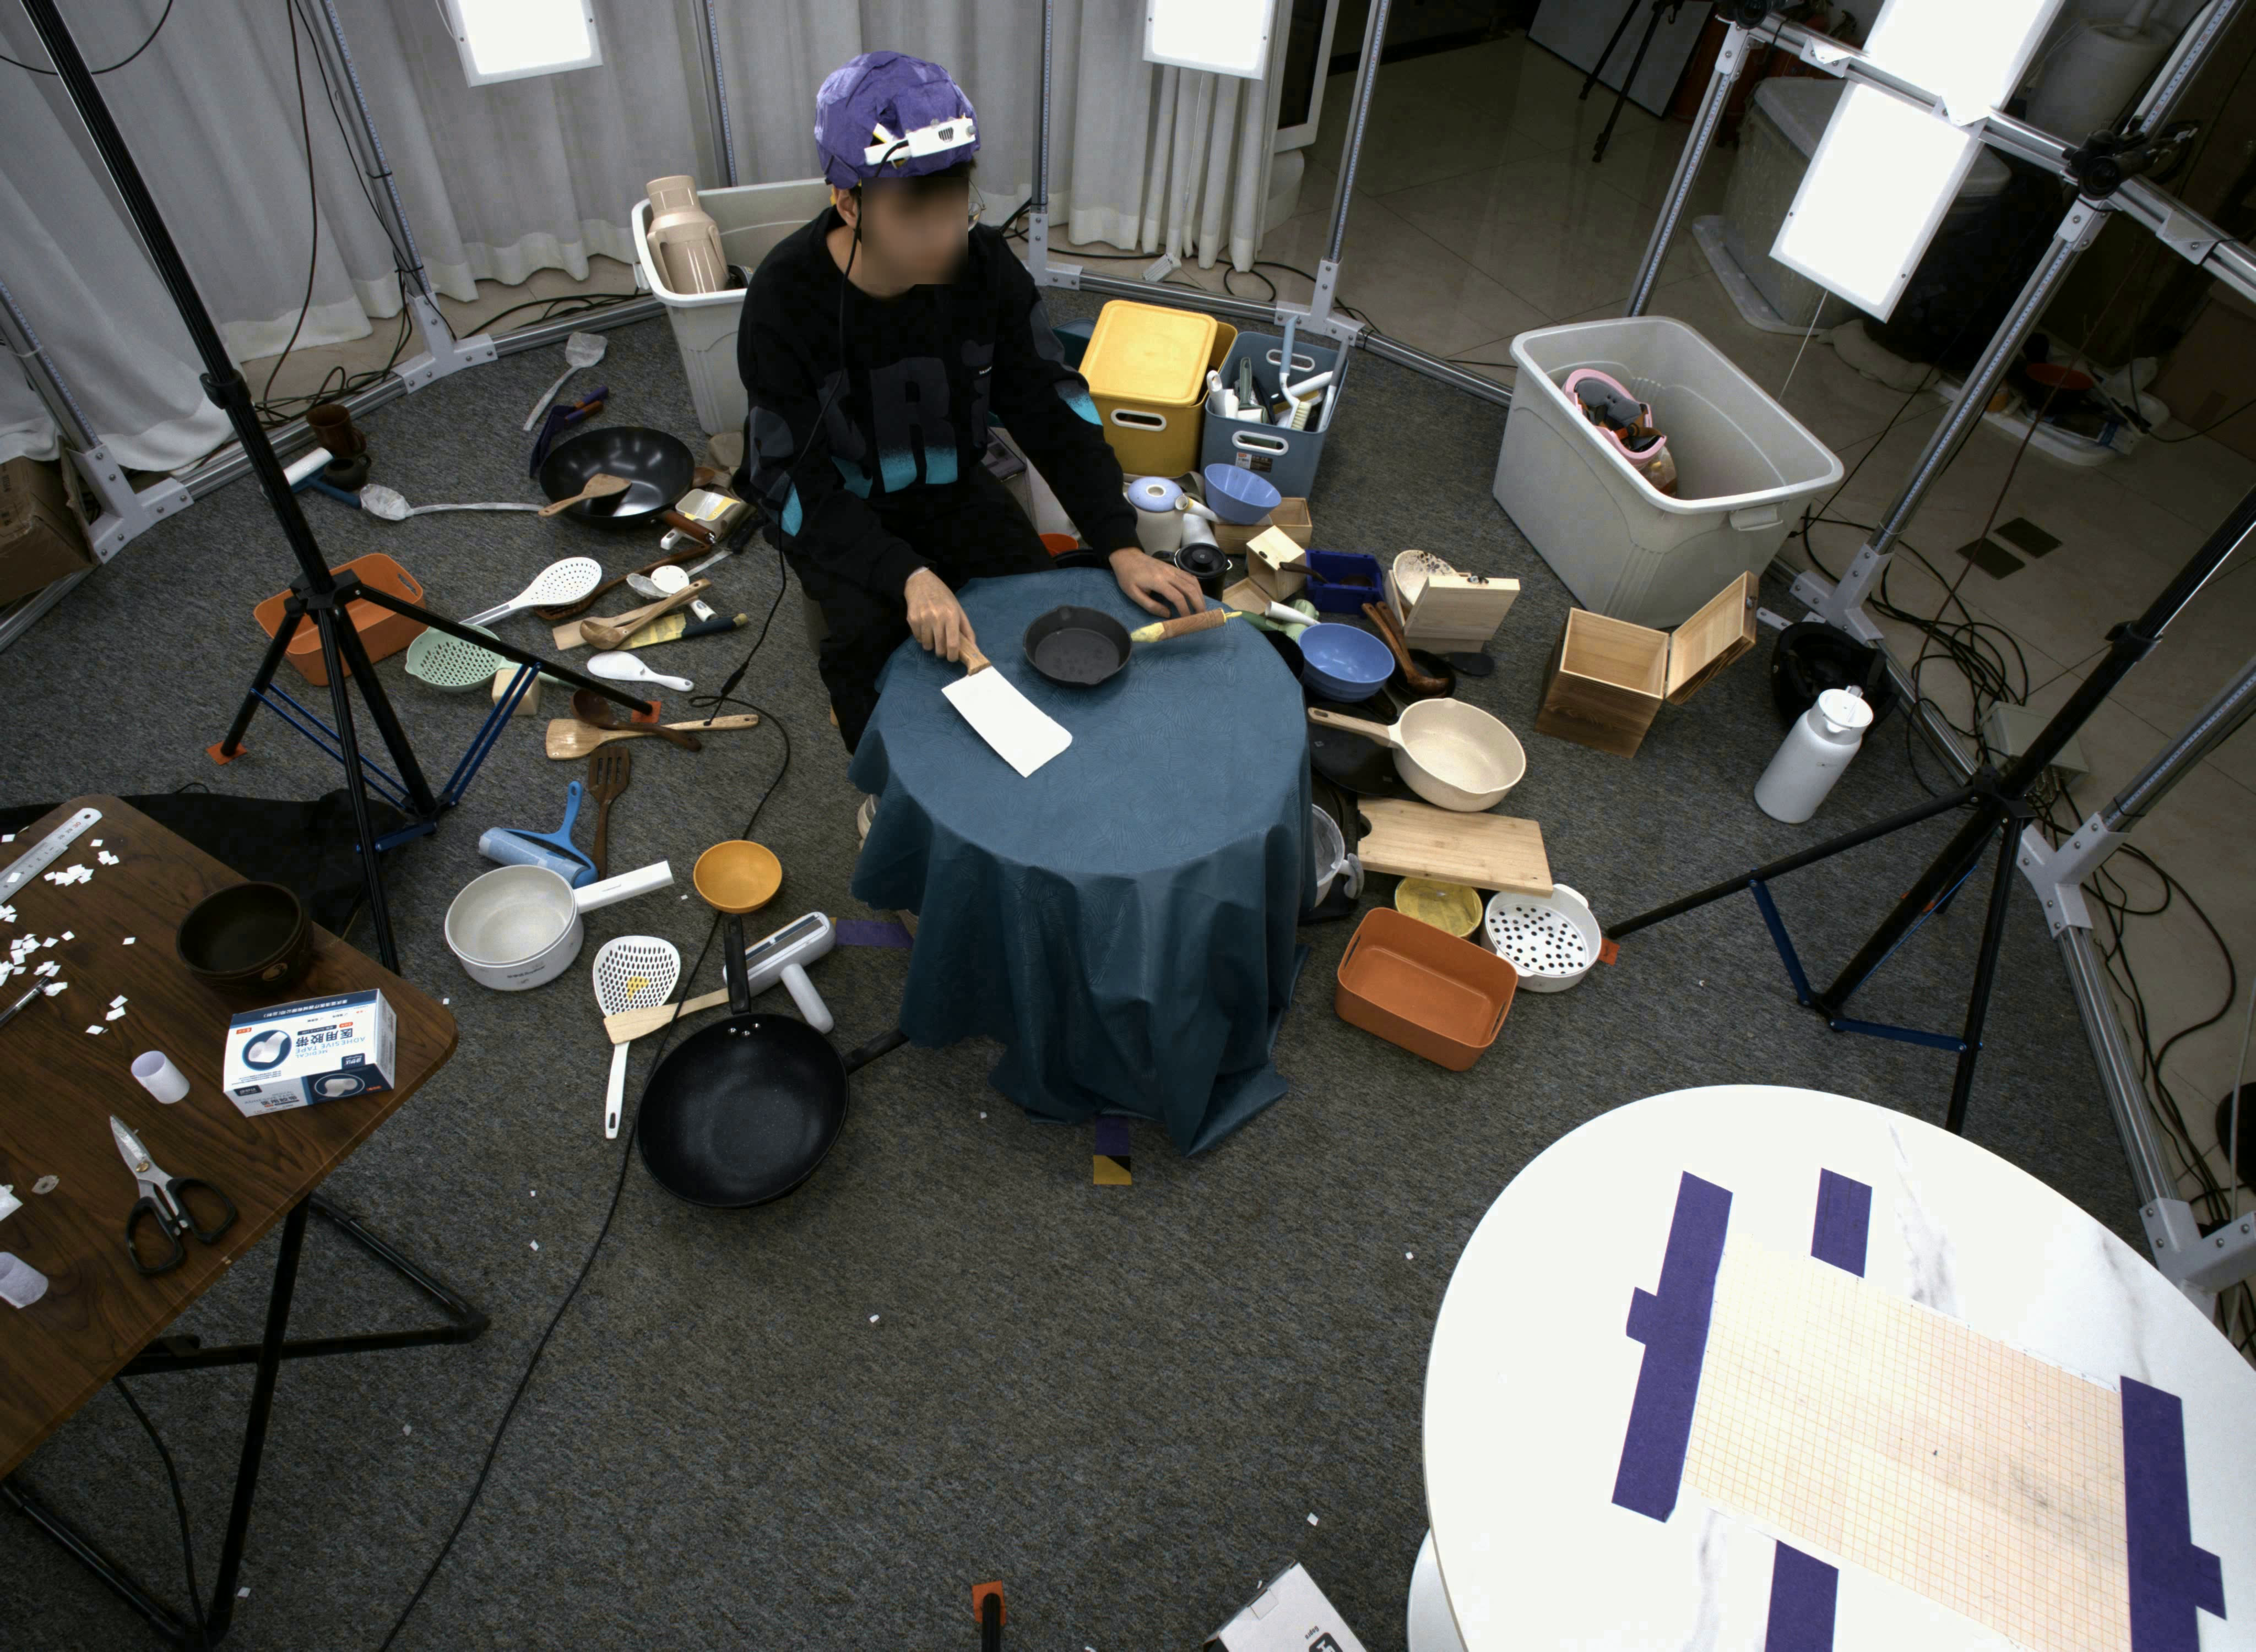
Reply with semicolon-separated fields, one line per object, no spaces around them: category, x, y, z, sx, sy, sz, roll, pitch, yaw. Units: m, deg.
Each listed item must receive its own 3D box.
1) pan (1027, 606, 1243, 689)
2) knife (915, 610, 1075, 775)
pan;0.014;-0.274;1.875;0.324;0.048;0.173;-11;50;-11
knife;-0.196;-0.195;1.799;0.114;0.021;0.320;-29;63;-26
